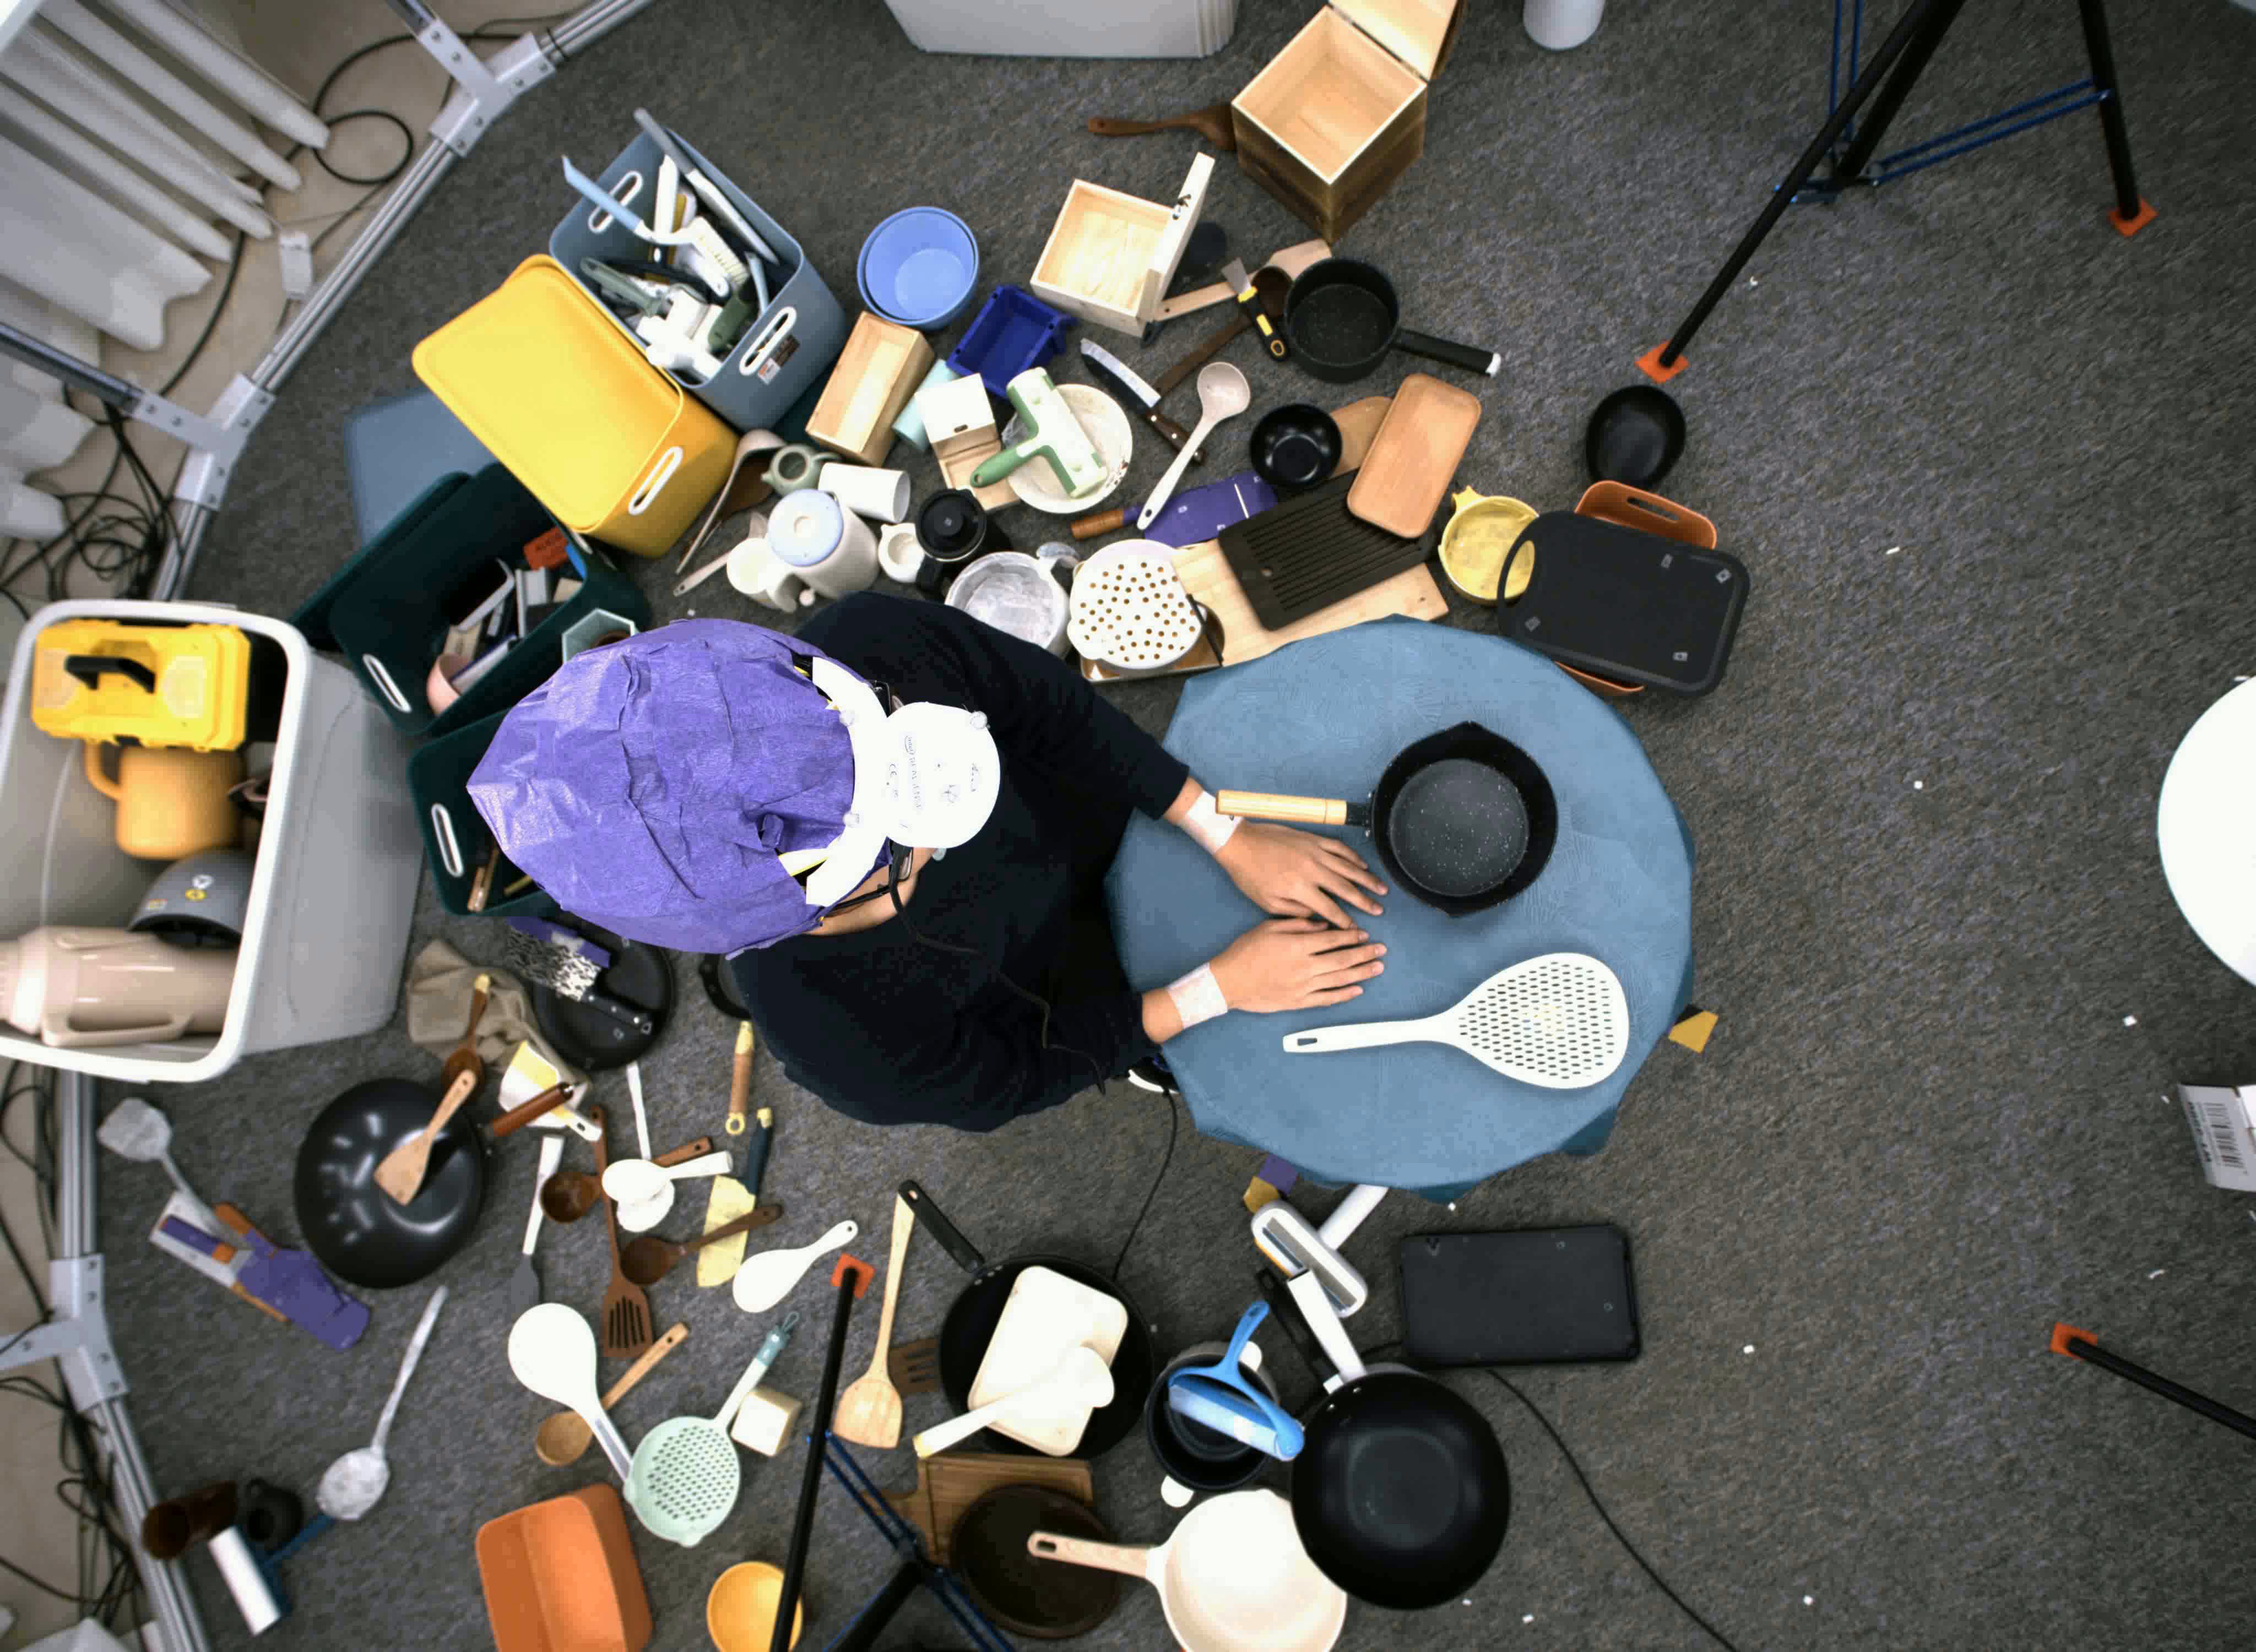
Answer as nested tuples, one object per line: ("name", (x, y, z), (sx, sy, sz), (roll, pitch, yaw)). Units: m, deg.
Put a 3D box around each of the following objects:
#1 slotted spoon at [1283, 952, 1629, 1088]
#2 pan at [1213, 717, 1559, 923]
("slotted spoon", (0.332, 0.208, 1.419), (0.349, 0.050, 0.136), (-7, 87, 8))
("pan", (0.261, -0.009, 1.411), (0.344, 0.108, 0.207), (3, 88, 9))
